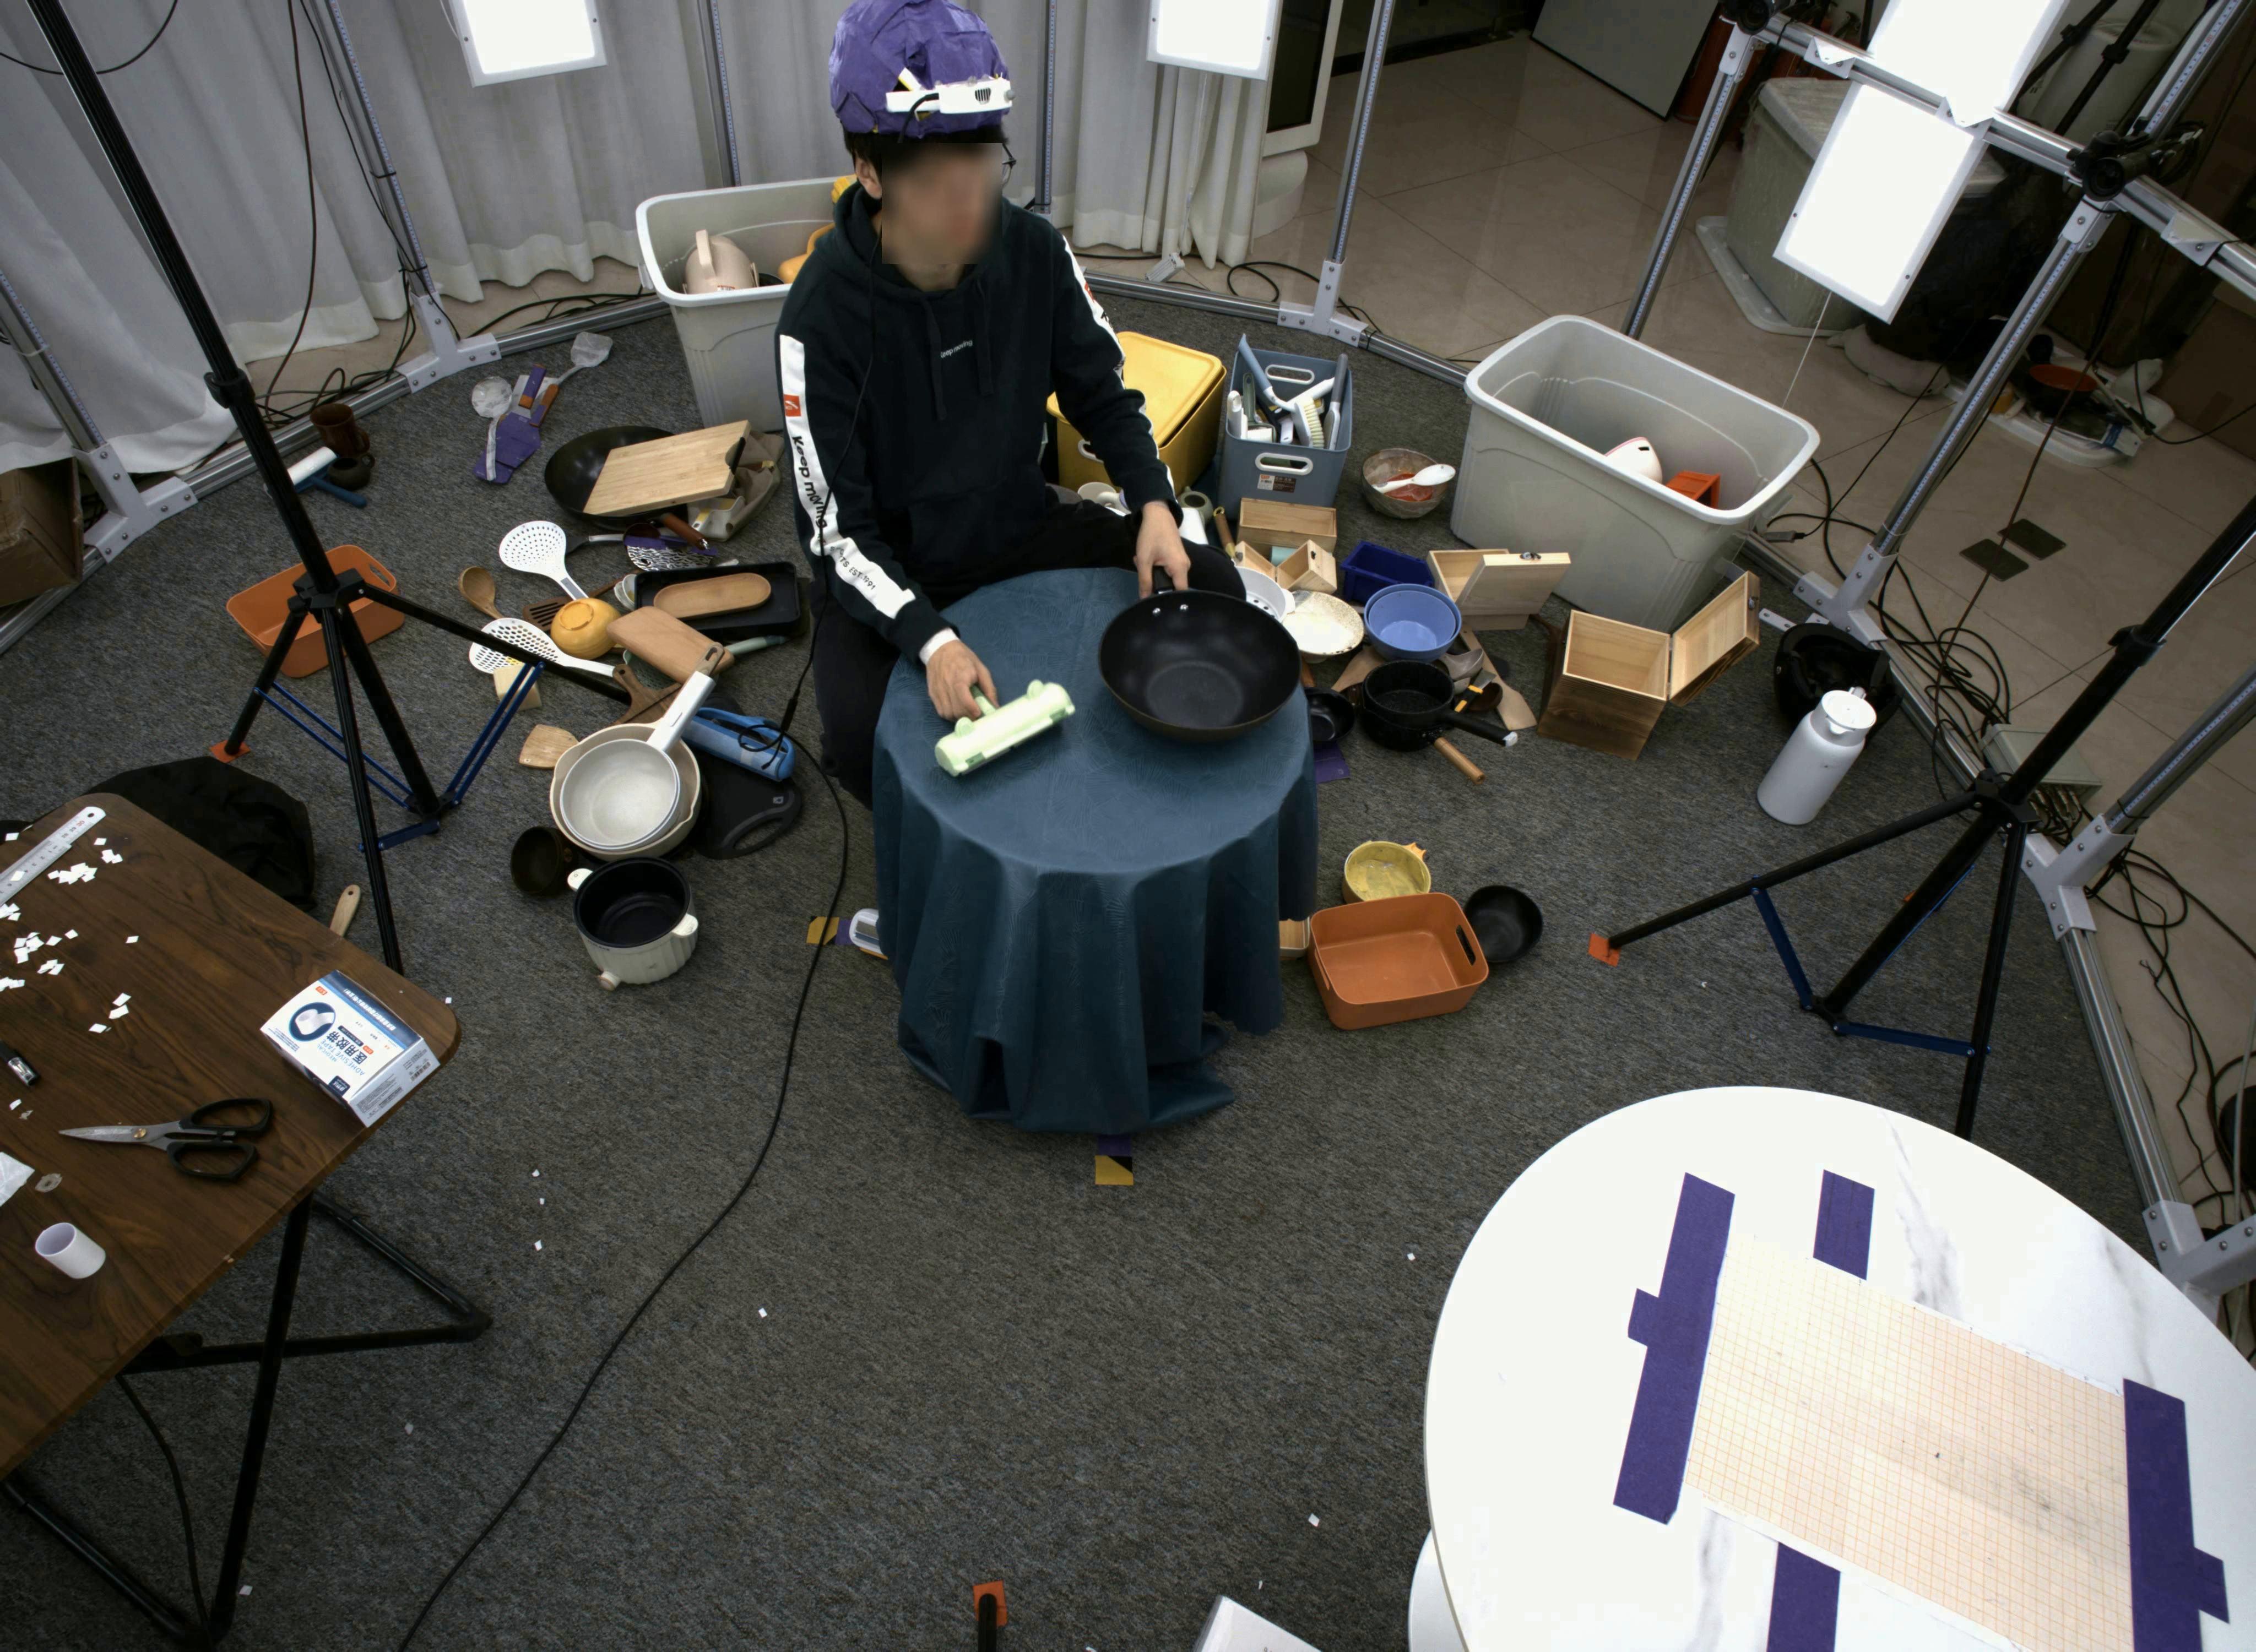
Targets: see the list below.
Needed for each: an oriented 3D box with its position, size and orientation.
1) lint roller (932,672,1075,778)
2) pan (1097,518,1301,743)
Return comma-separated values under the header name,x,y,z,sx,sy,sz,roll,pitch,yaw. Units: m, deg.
name,x,y,z,sx,sy,sz,roll,pitch,yaw
lint roller,-0.200,-0.169,1.748,0.200,0.080,0.186,-29,60,-23
pan,0.069,-0.278,1.858,0.288,0.085,0.475,-11,50,-14
